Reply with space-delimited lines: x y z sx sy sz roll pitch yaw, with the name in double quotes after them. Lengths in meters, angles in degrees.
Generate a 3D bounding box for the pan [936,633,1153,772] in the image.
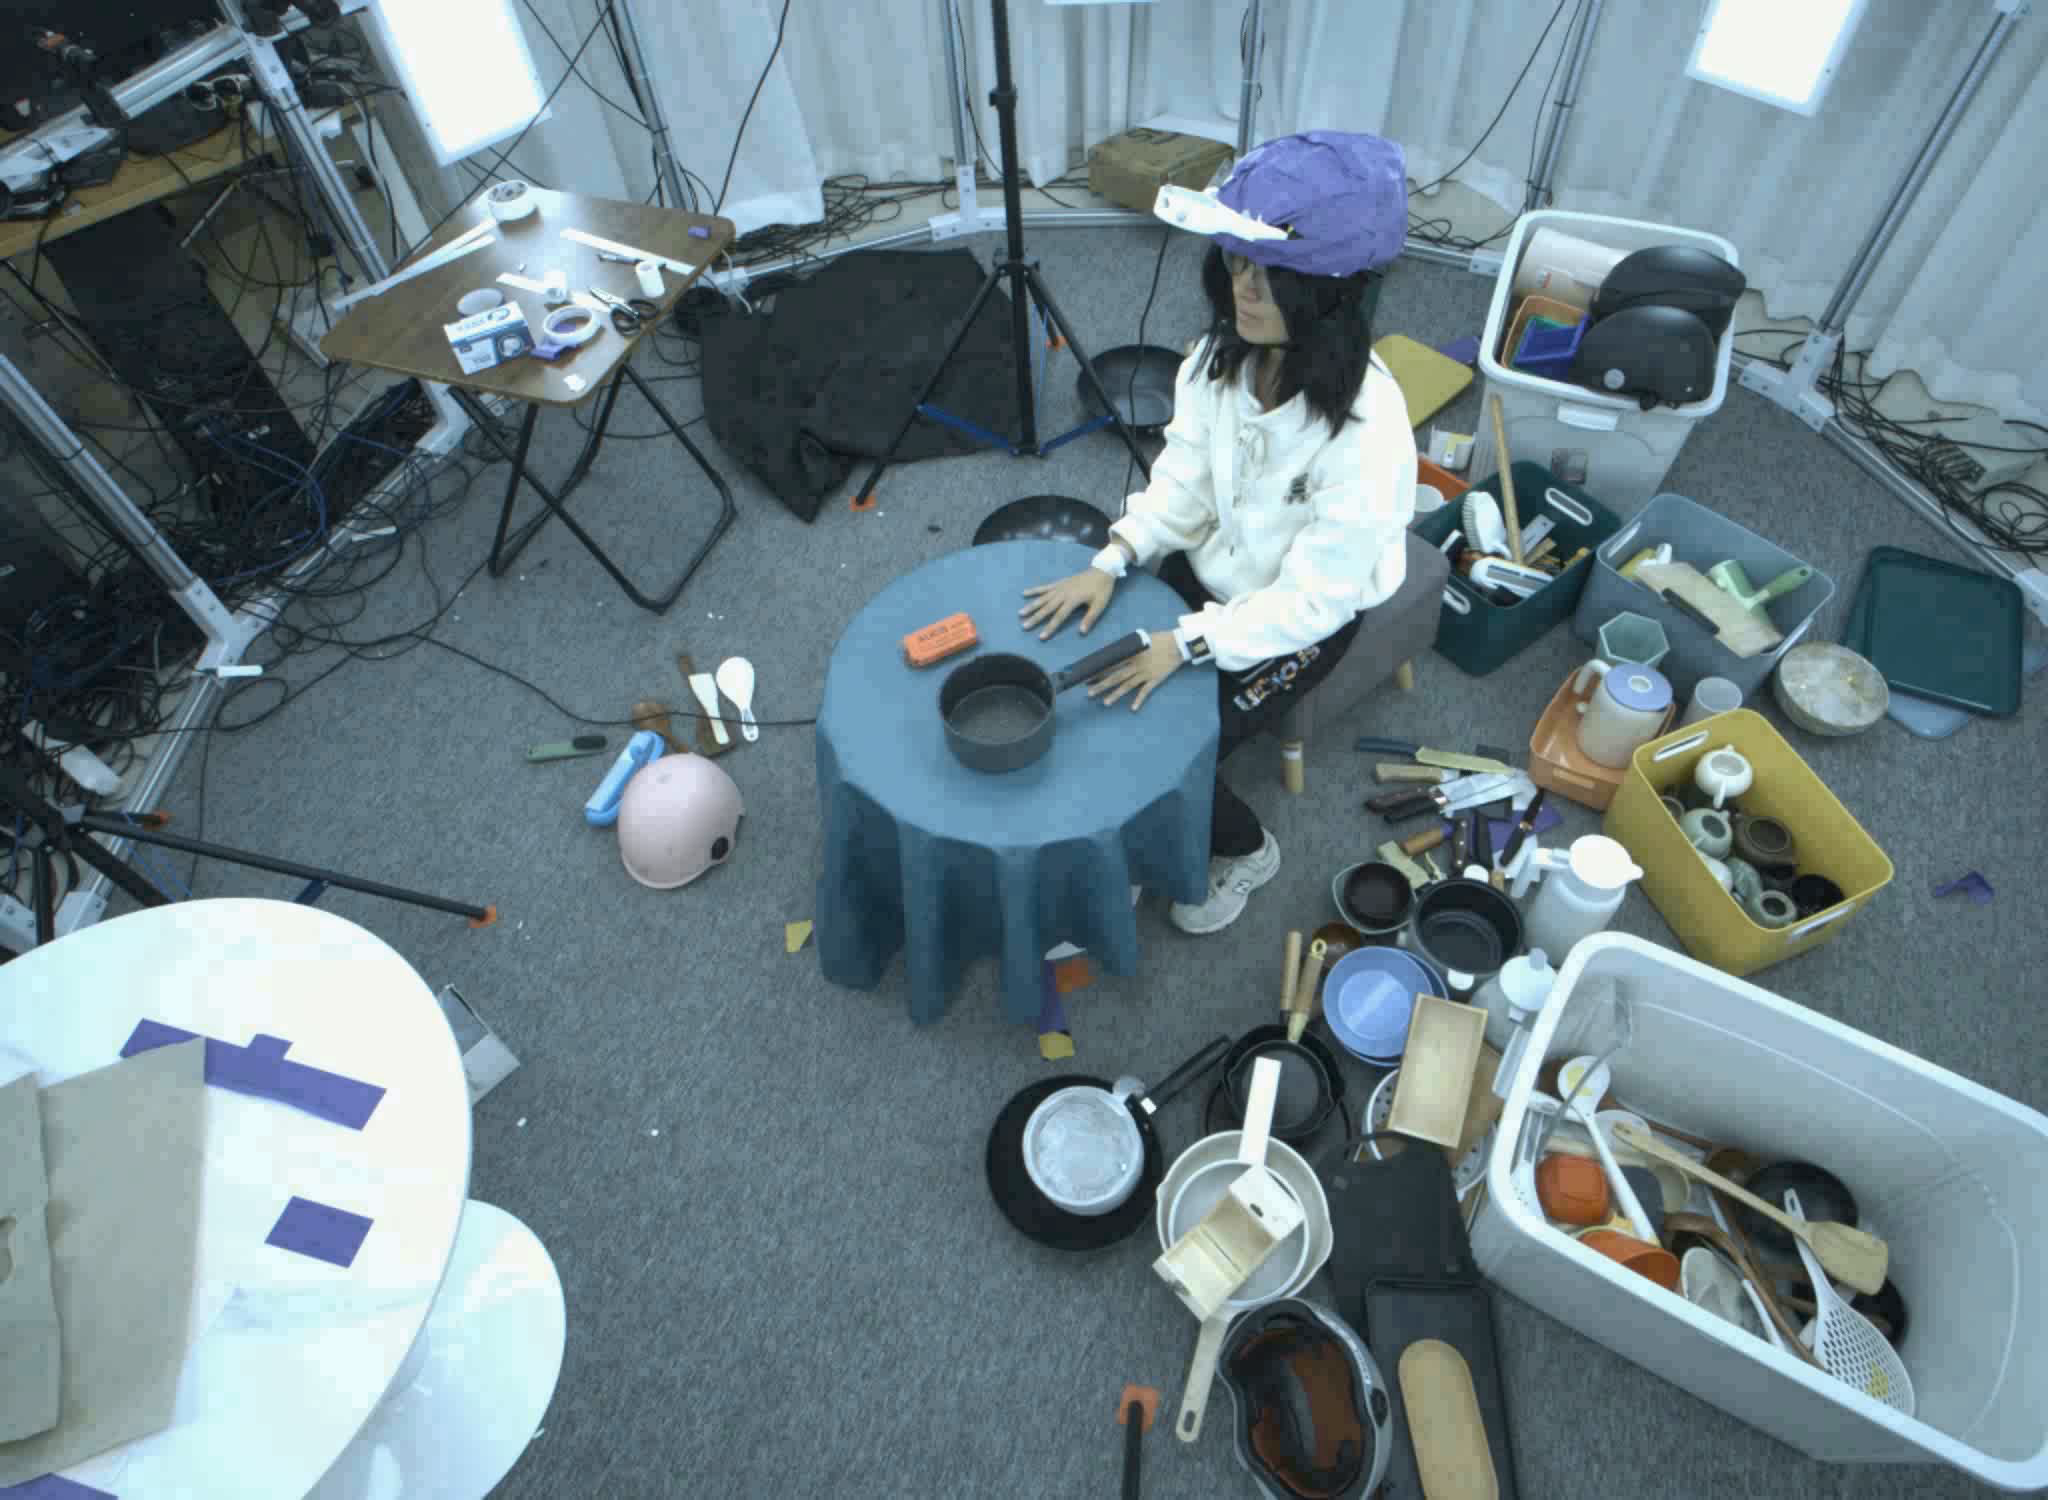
0.035 -0.083 1.794 0.331 0.087 0.169 -21 57 -11 "pan"

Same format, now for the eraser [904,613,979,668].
-0.128 -0.170 1.897 0.109 0.023 0.058 -25 57 -14 "eraser"
